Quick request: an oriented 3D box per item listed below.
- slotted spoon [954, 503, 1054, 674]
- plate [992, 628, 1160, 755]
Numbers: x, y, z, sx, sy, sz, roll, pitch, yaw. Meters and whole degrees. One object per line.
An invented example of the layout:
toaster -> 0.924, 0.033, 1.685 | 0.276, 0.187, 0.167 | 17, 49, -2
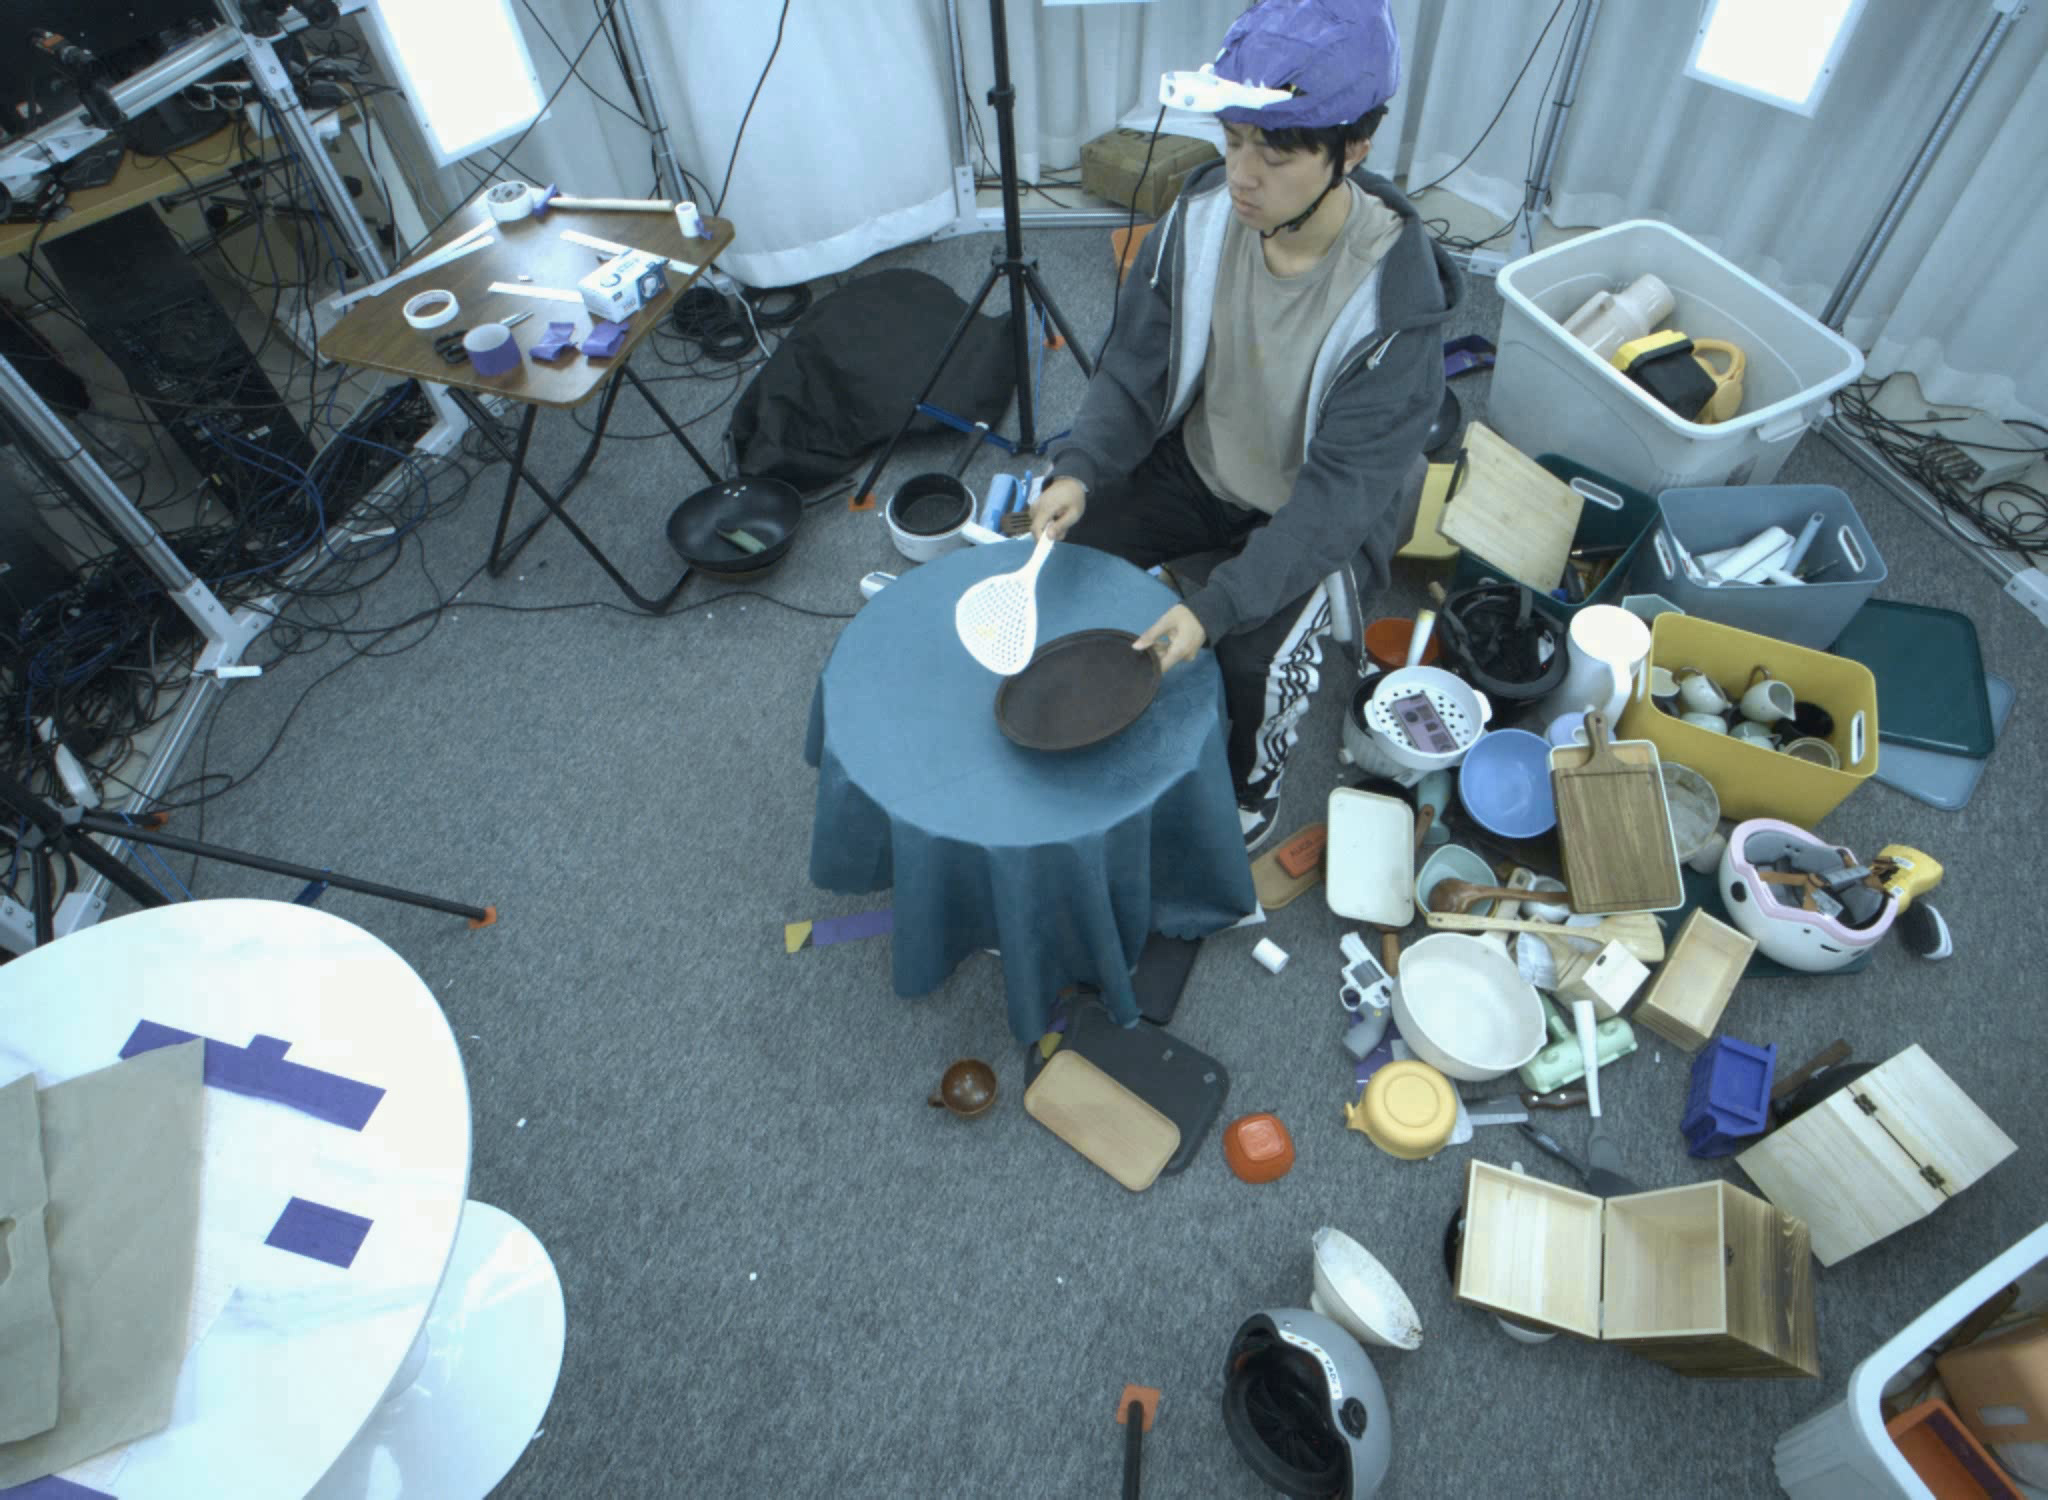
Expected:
slotted spoon -> -0.009, -0.254, 1.828 | 0.139, 0.049, 0.348 | 40, 57, -20
plate -> 0.076, -0.086, 1.784 | 0.253, 0.029, 0.252 | -13, 42, 13
